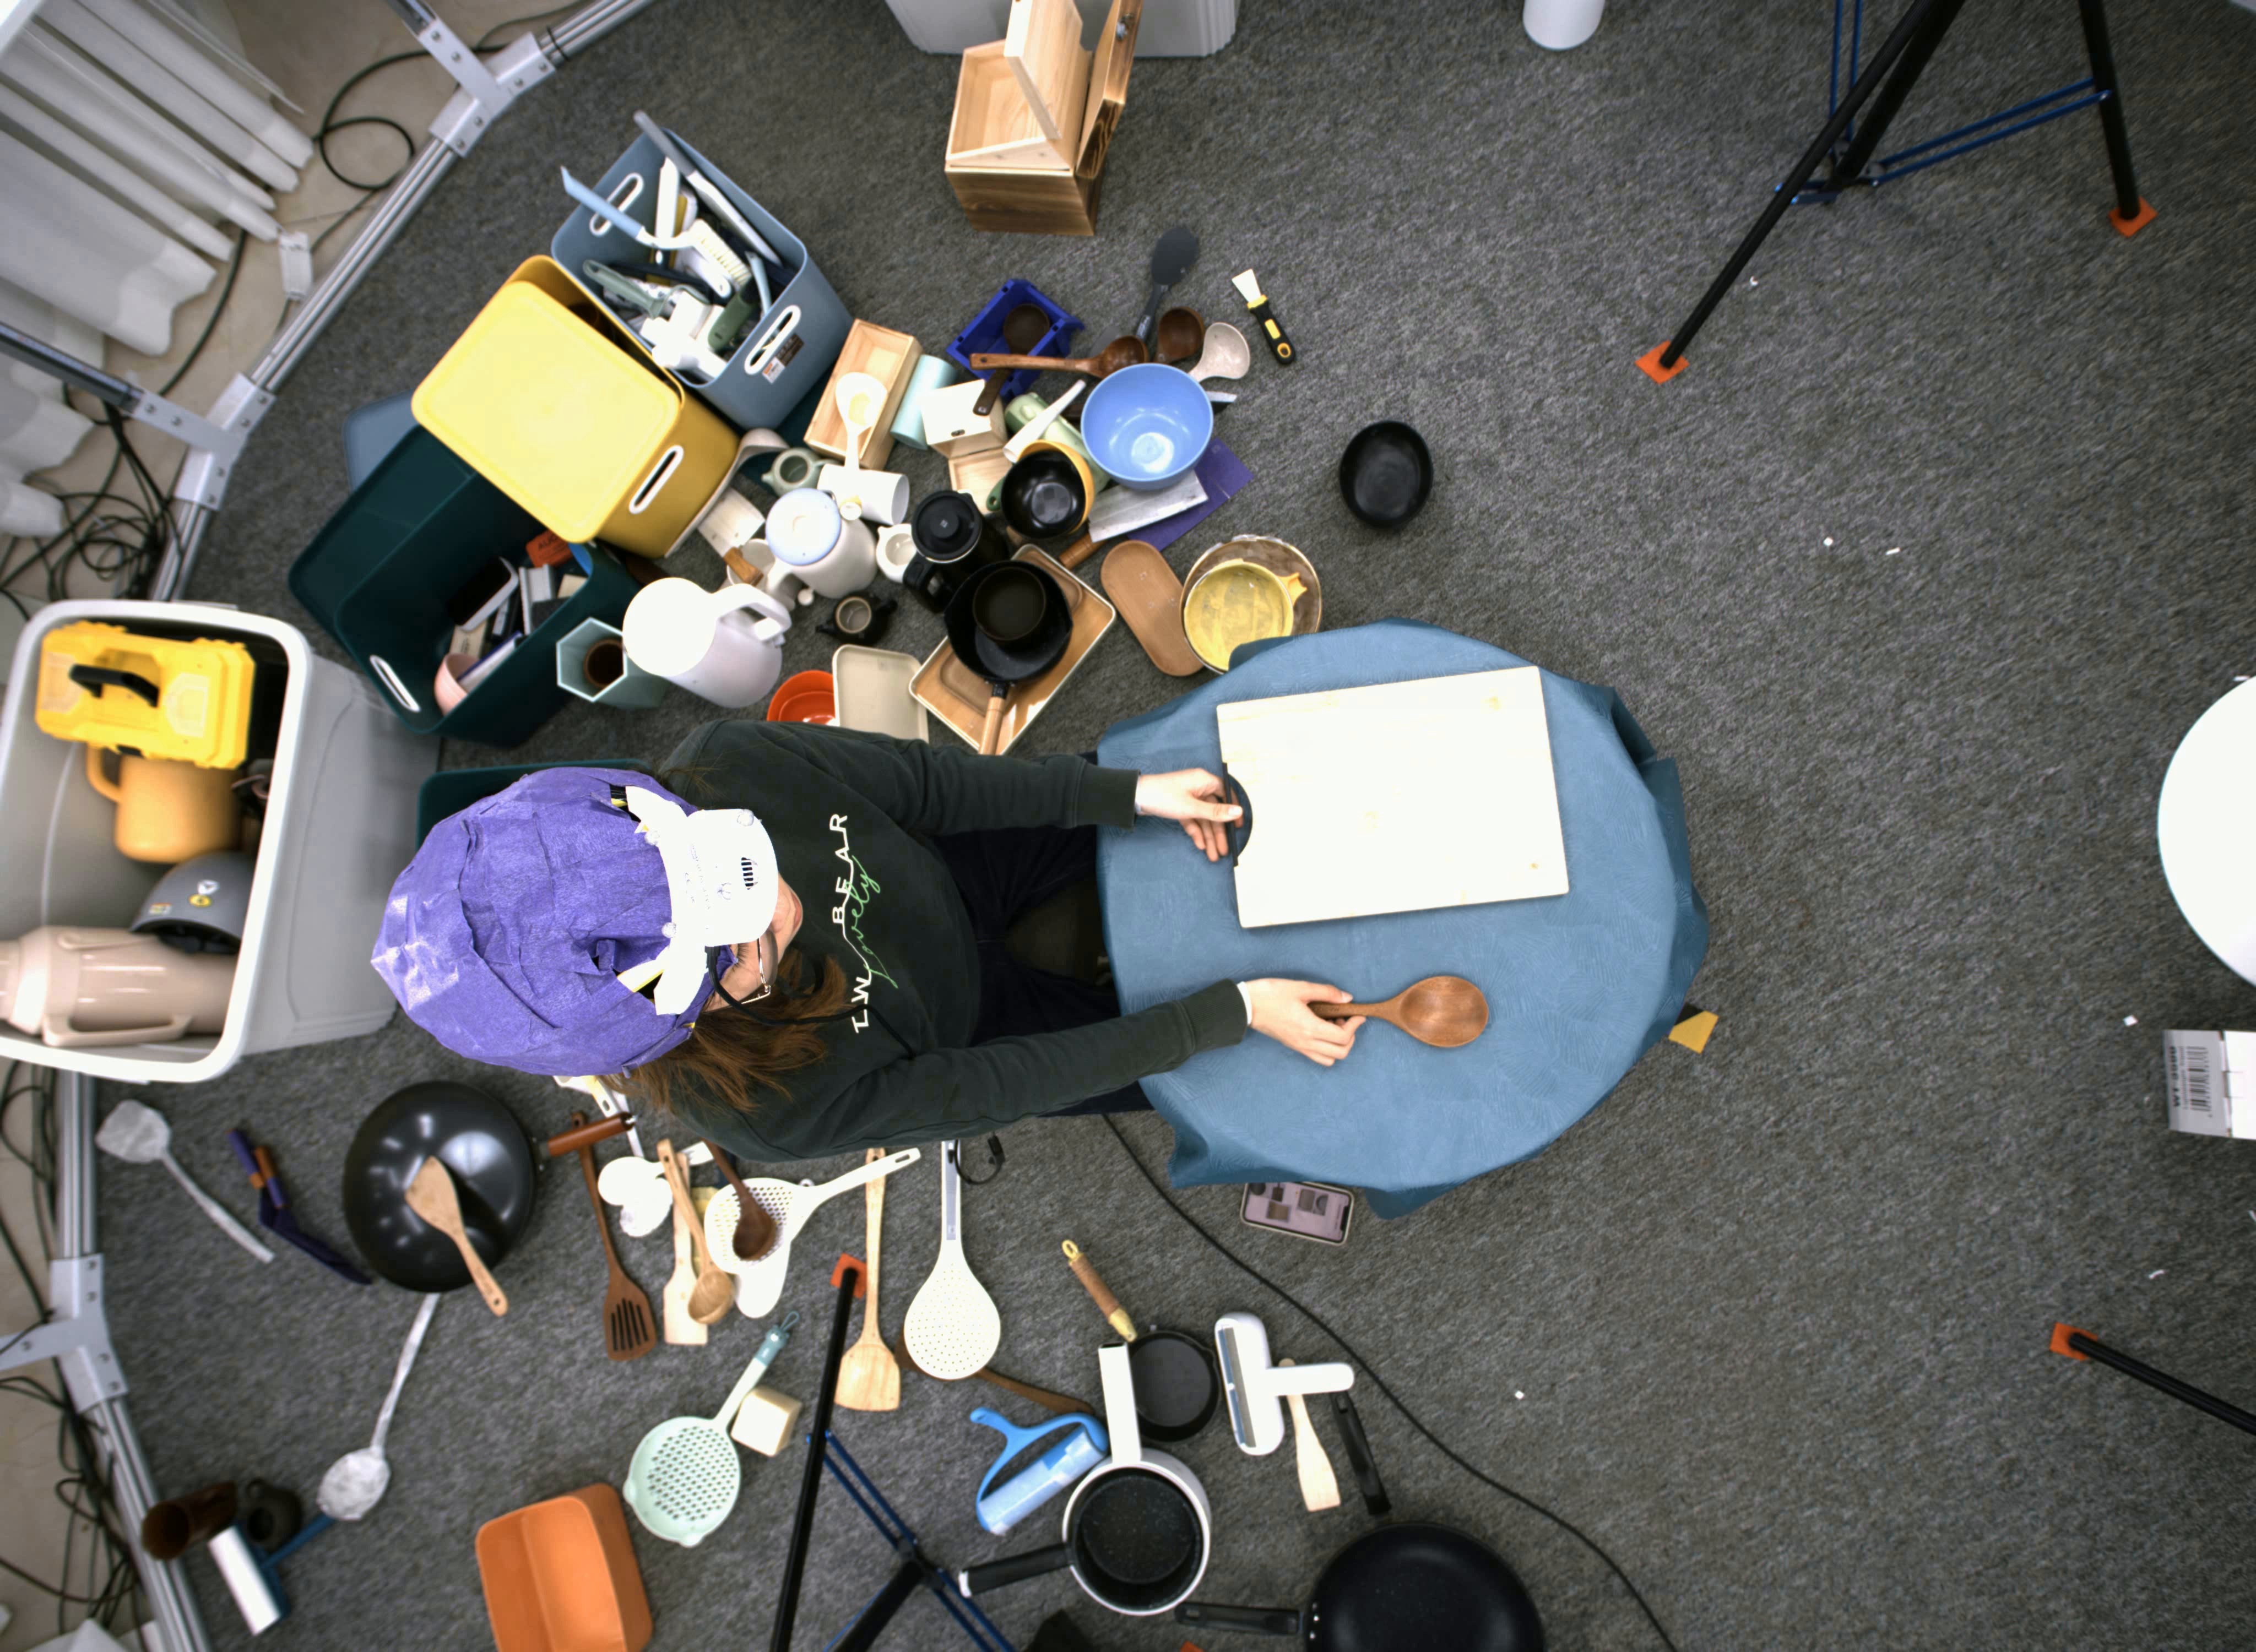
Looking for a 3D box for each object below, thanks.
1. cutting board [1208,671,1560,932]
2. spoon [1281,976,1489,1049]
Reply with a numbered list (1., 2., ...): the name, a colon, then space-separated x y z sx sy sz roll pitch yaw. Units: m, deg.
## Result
1. cutting board: 0.270 -0.027 1.455 0.350 0.023 0.249 -8 84 7
2. spoon: 0.268 0.193 1.448 0.216 0.017 0.075 -1 87 10
